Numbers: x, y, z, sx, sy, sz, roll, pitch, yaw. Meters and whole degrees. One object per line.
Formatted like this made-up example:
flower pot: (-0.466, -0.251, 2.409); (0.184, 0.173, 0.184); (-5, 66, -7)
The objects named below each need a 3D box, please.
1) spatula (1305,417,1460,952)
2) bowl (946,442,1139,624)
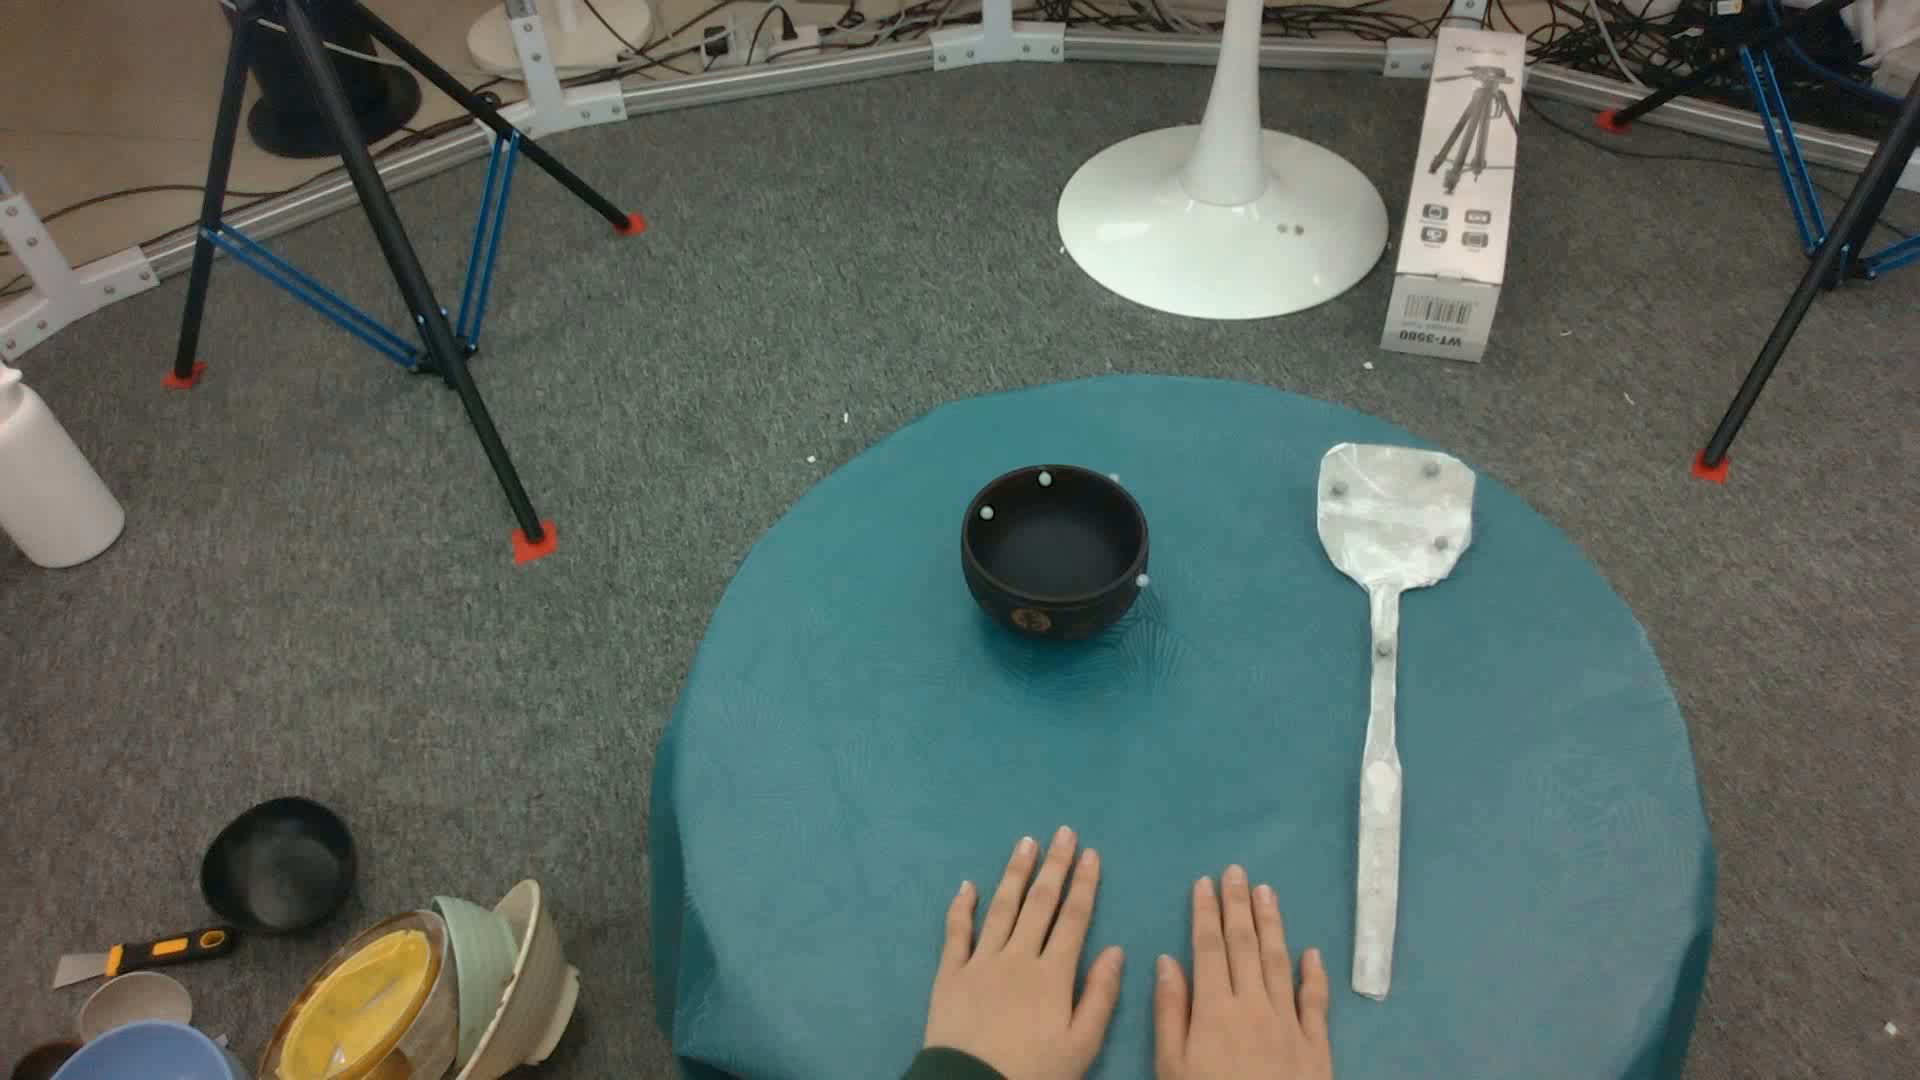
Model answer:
spatula: (0.240, 0.069, 0.816); (0.098, 0.044, 0.367); (11, 50, 9)
bowl: (0.051, 0.003, 0.857); (0.118, 0.069, 0.118); (-2, 50, 2)
